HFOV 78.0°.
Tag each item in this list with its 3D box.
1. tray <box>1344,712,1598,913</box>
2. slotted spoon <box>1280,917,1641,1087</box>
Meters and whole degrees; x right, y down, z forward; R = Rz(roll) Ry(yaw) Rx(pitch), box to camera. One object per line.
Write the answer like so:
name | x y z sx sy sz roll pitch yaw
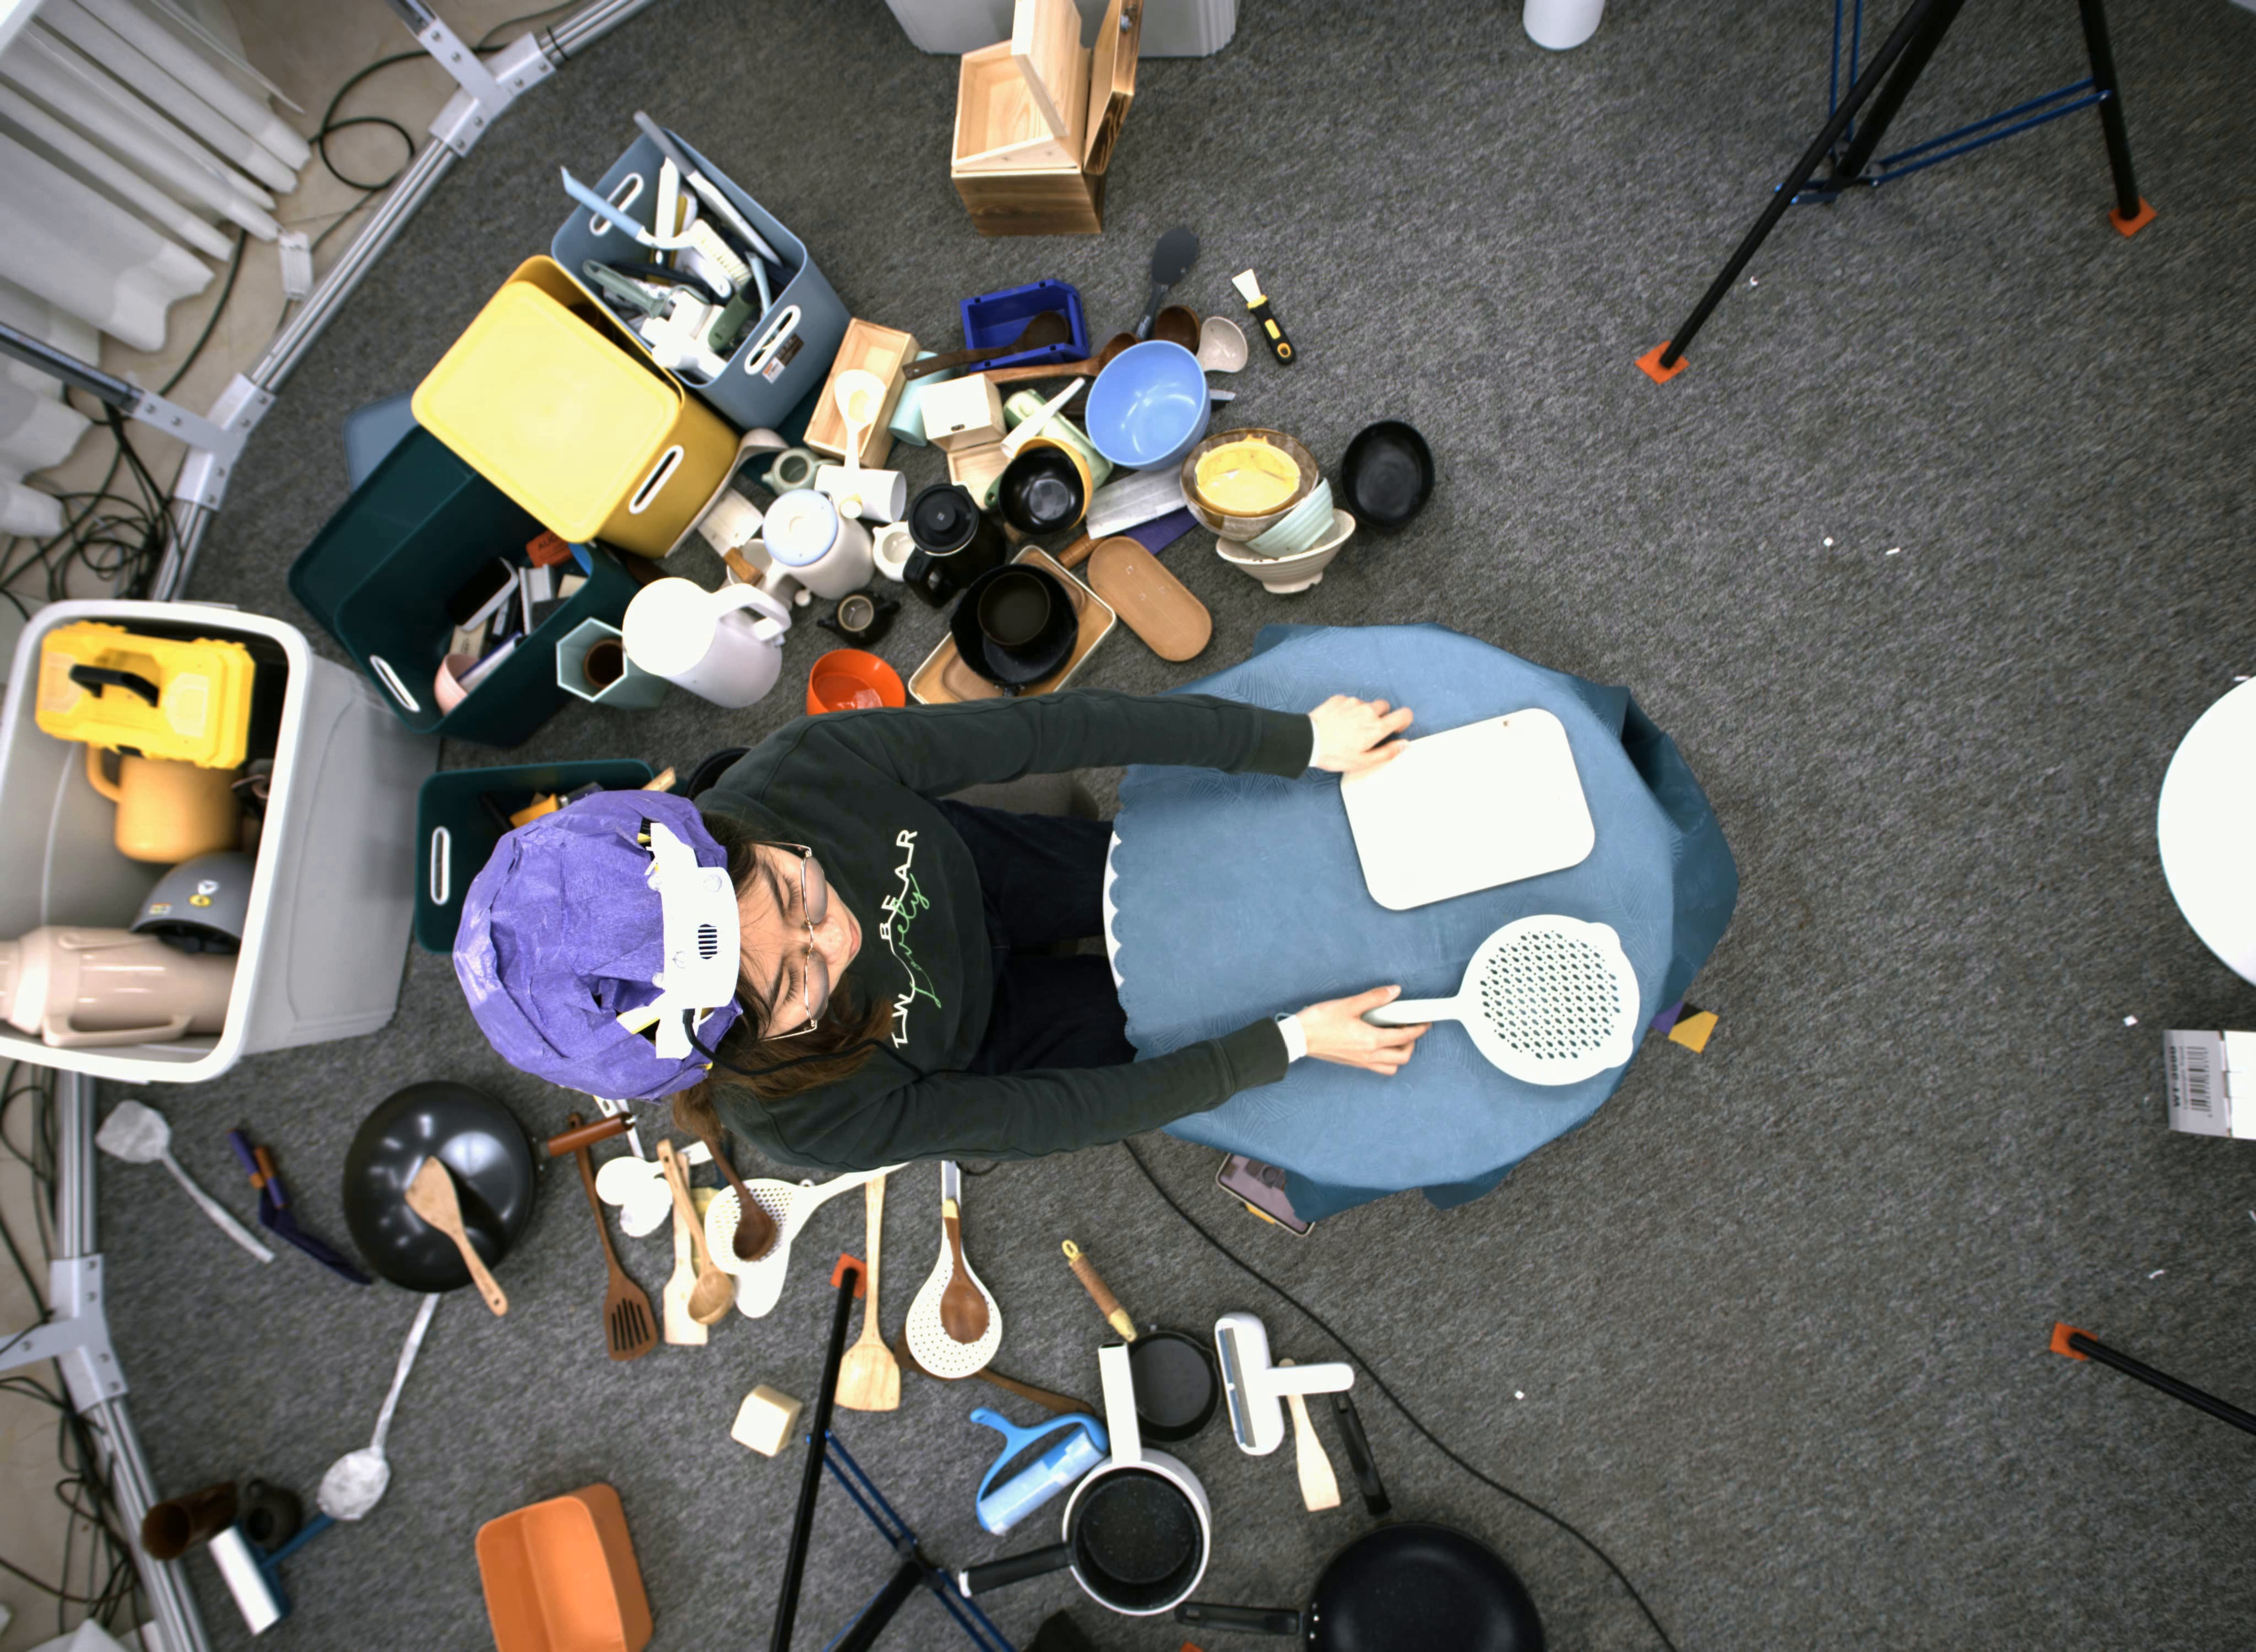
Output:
tray | 0.358 -0.015 1.446 0.241 0.017 0.170 -16 83 10
slotted spoon | 0.333 0.185 1.413 0.360 0.075 0.169 -7 88 10
